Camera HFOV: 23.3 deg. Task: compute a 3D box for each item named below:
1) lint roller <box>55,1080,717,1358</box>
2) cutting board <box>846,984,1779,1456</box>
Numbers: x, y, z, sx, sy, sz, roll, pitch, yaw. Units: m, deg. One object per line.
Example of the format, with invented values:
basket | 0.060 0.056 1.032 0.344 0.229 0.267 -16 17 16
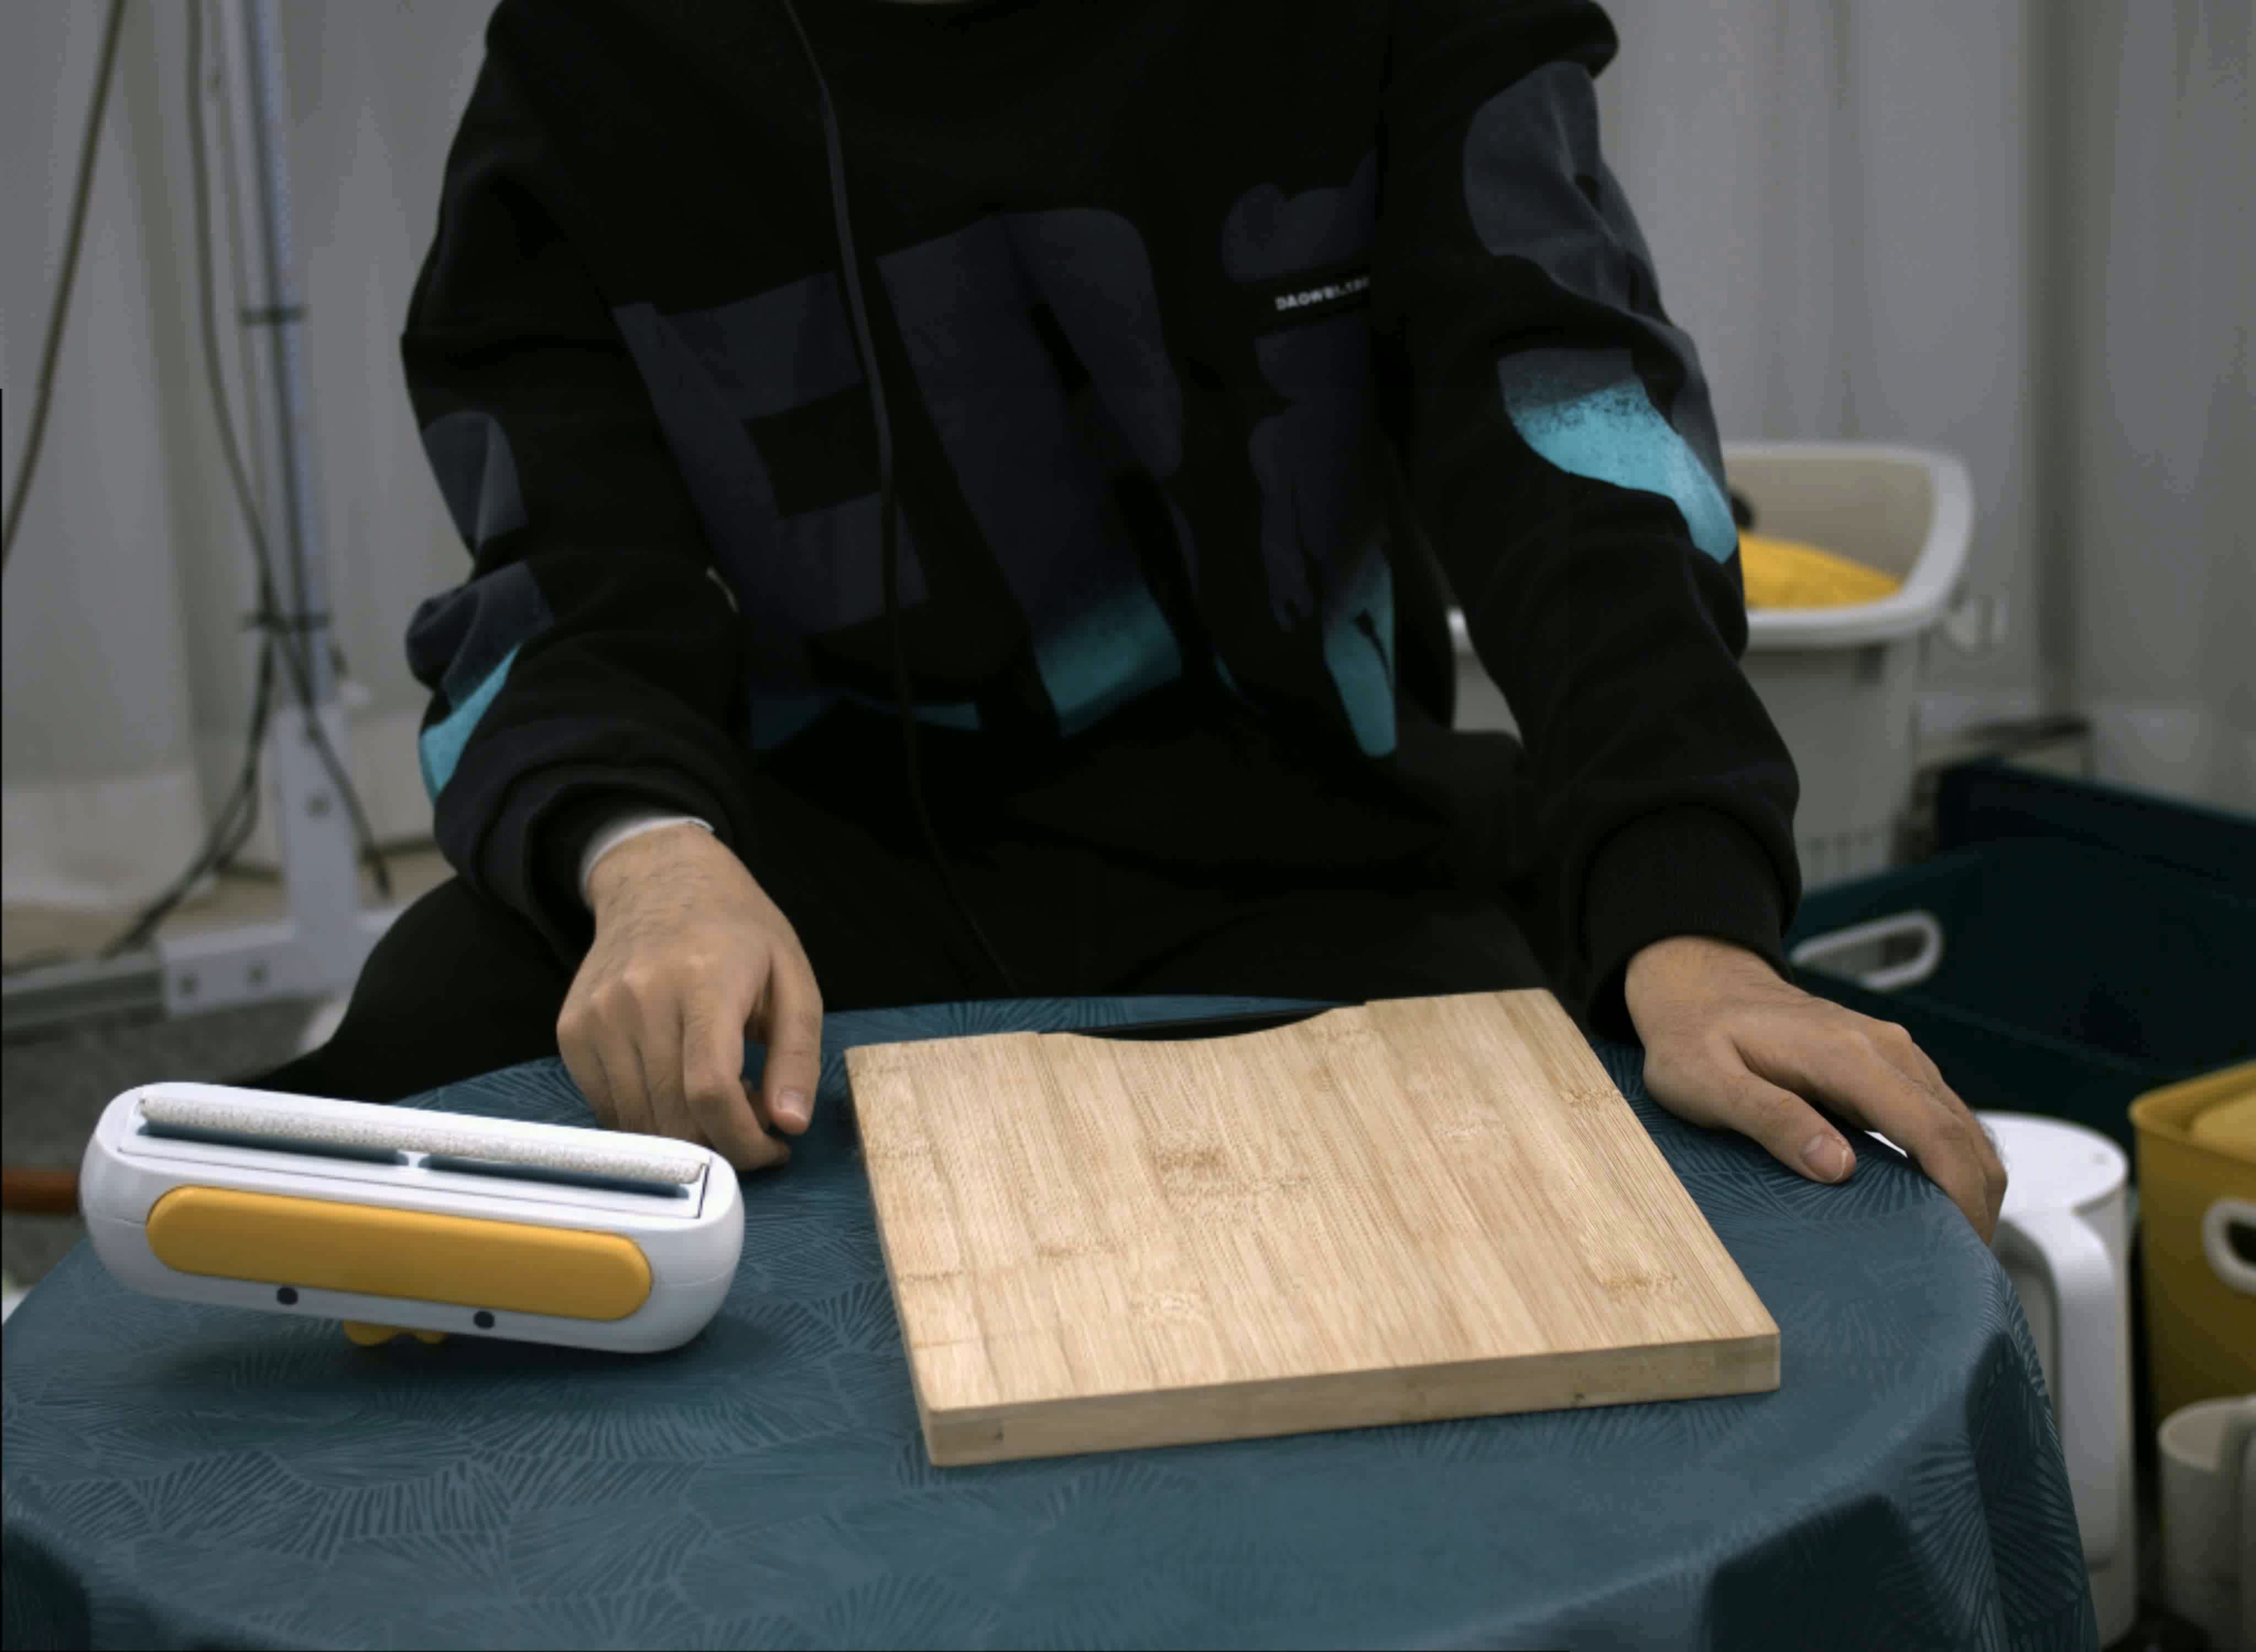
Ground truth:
lint roller | -0.213 0.107 1.657 0.192 0.074 0.193 3 14 3
cutting board | 0.044 0.115 1.674 0.250 0.023 0.351 -5 15 -6
